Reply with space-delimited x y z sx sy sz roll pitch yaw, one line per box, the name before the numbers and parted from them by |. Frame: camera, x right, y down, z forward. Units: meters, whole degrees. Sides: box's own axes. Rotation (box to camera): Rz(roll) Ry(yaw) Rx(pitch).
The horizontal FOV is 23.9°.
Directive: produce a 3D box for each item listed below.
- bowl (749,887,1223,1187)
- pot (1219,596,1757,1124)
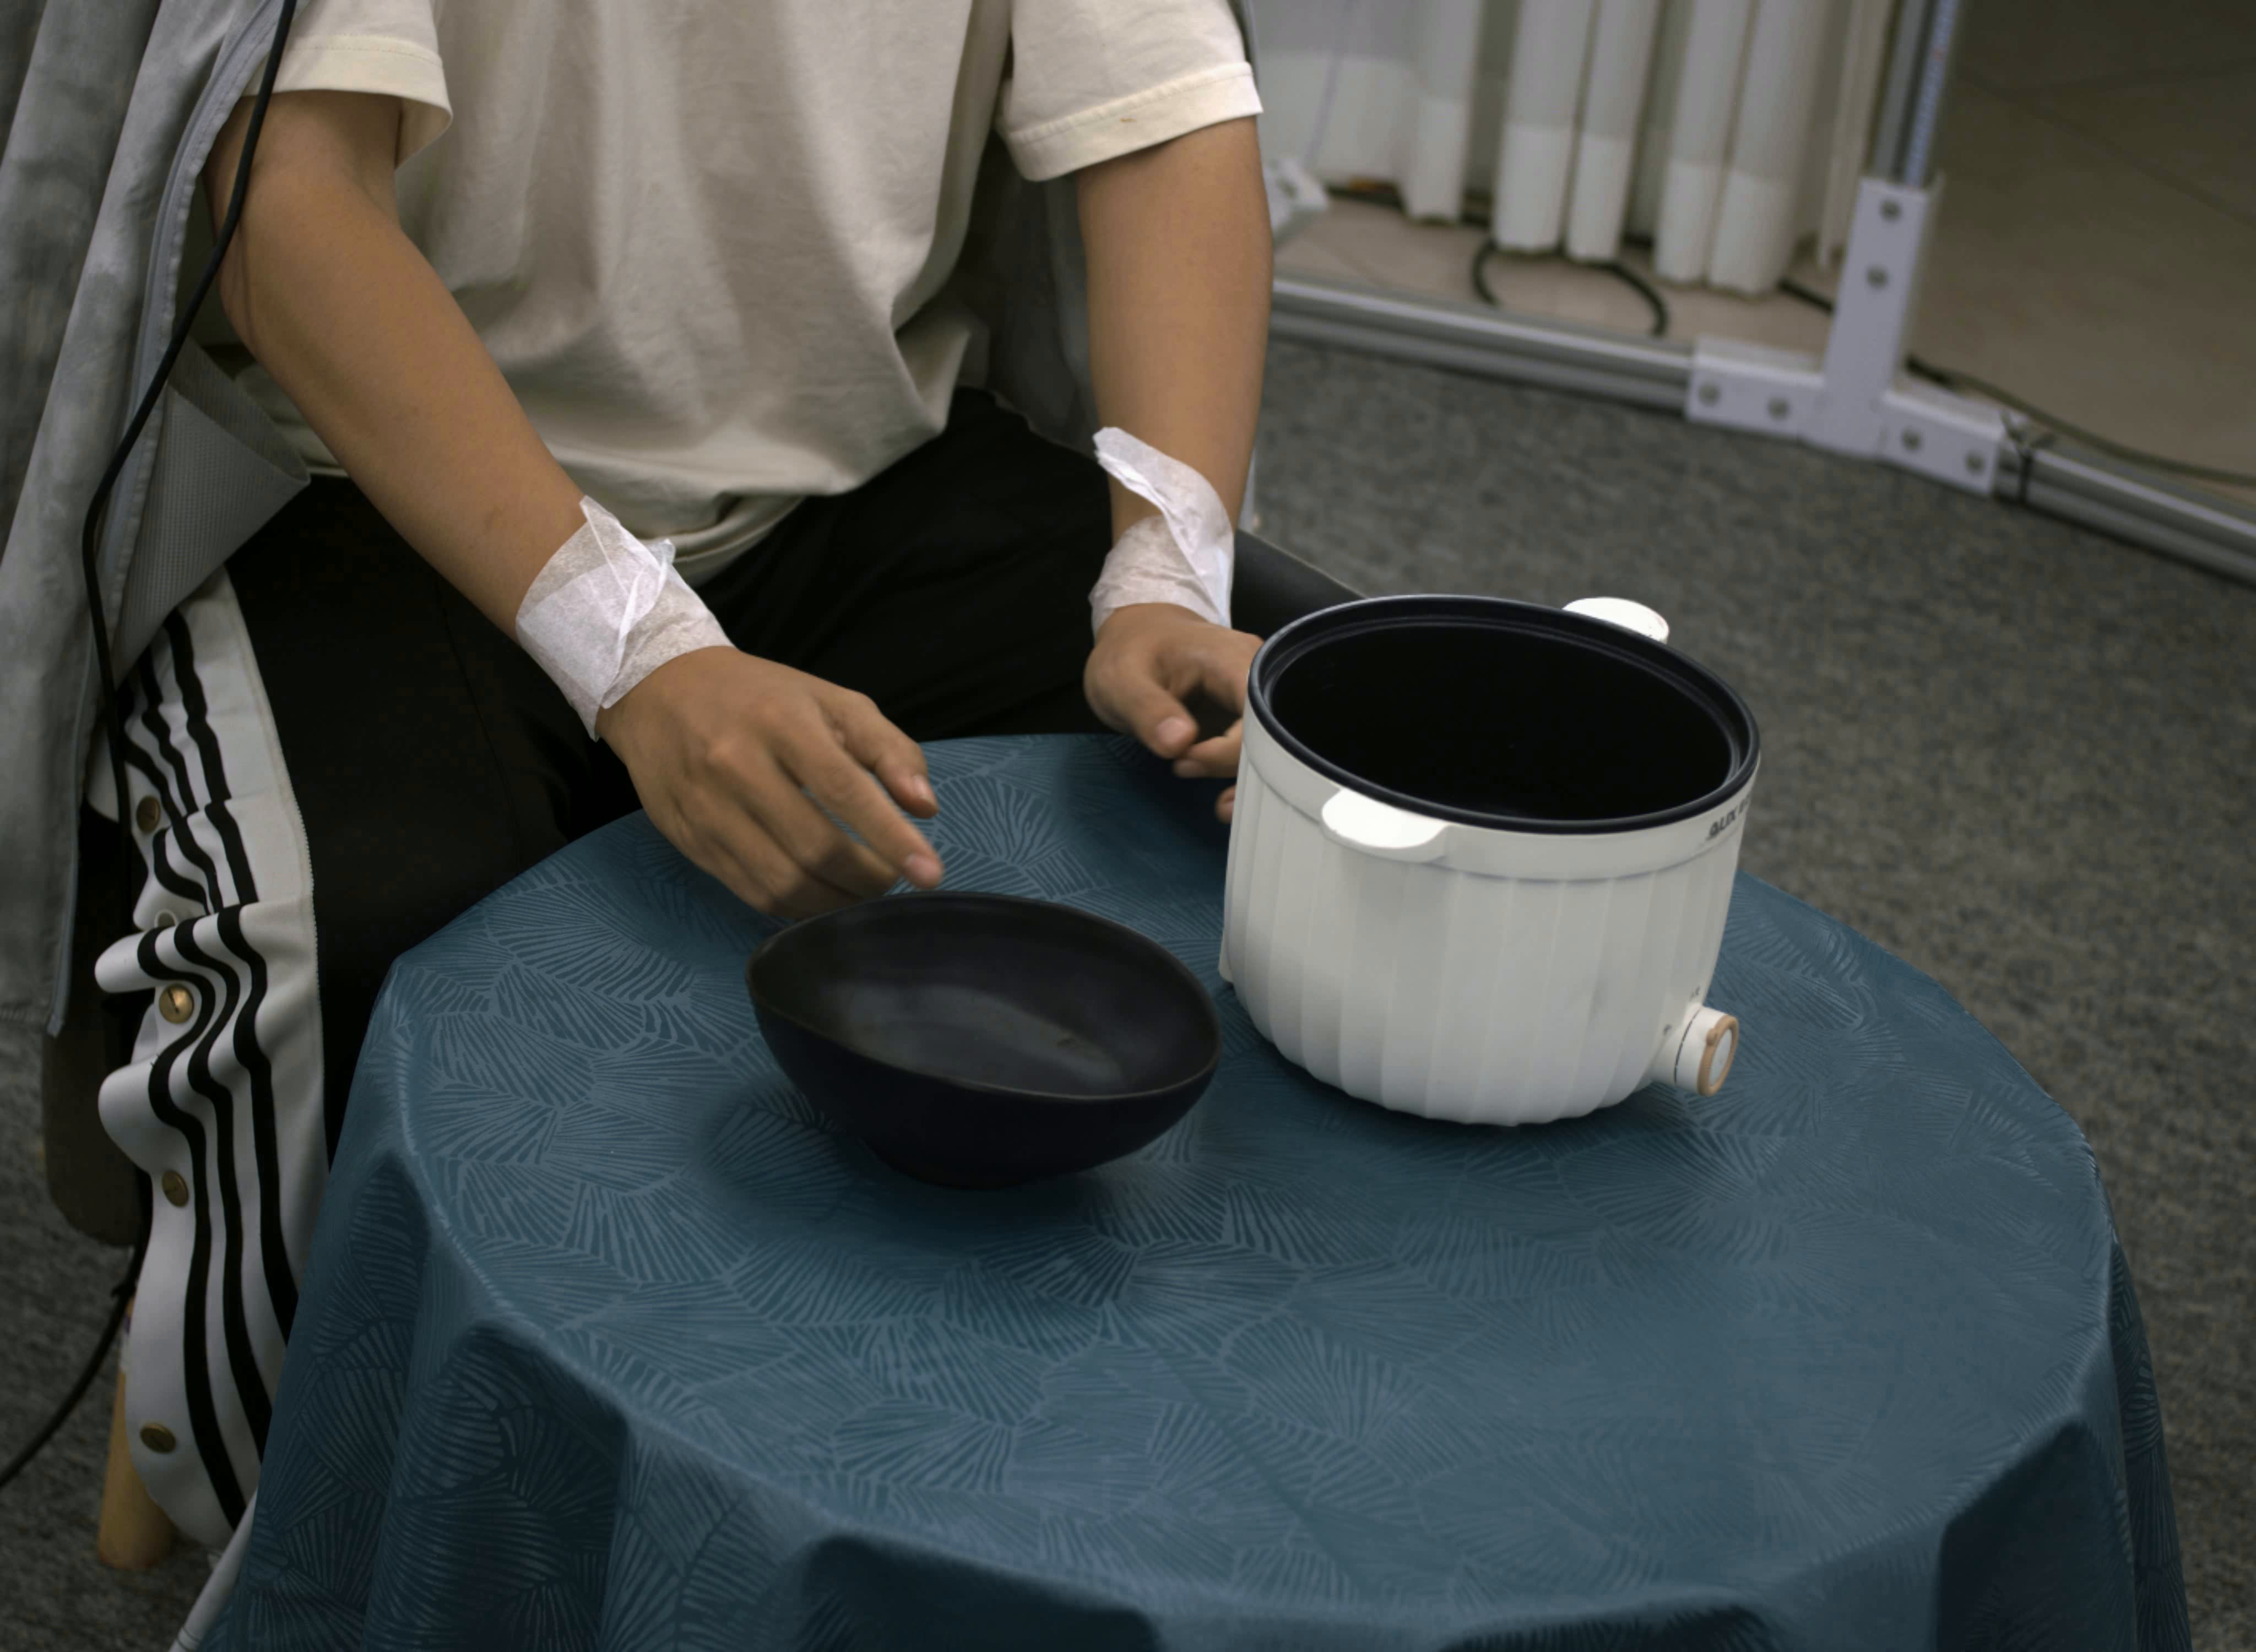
bowl | -0.052 0.080 1.807 0.171 0.066 0.137 16 28 21
pot | 0.129 0.017 1.891 0.191 0.142 0.240 15 28 23
